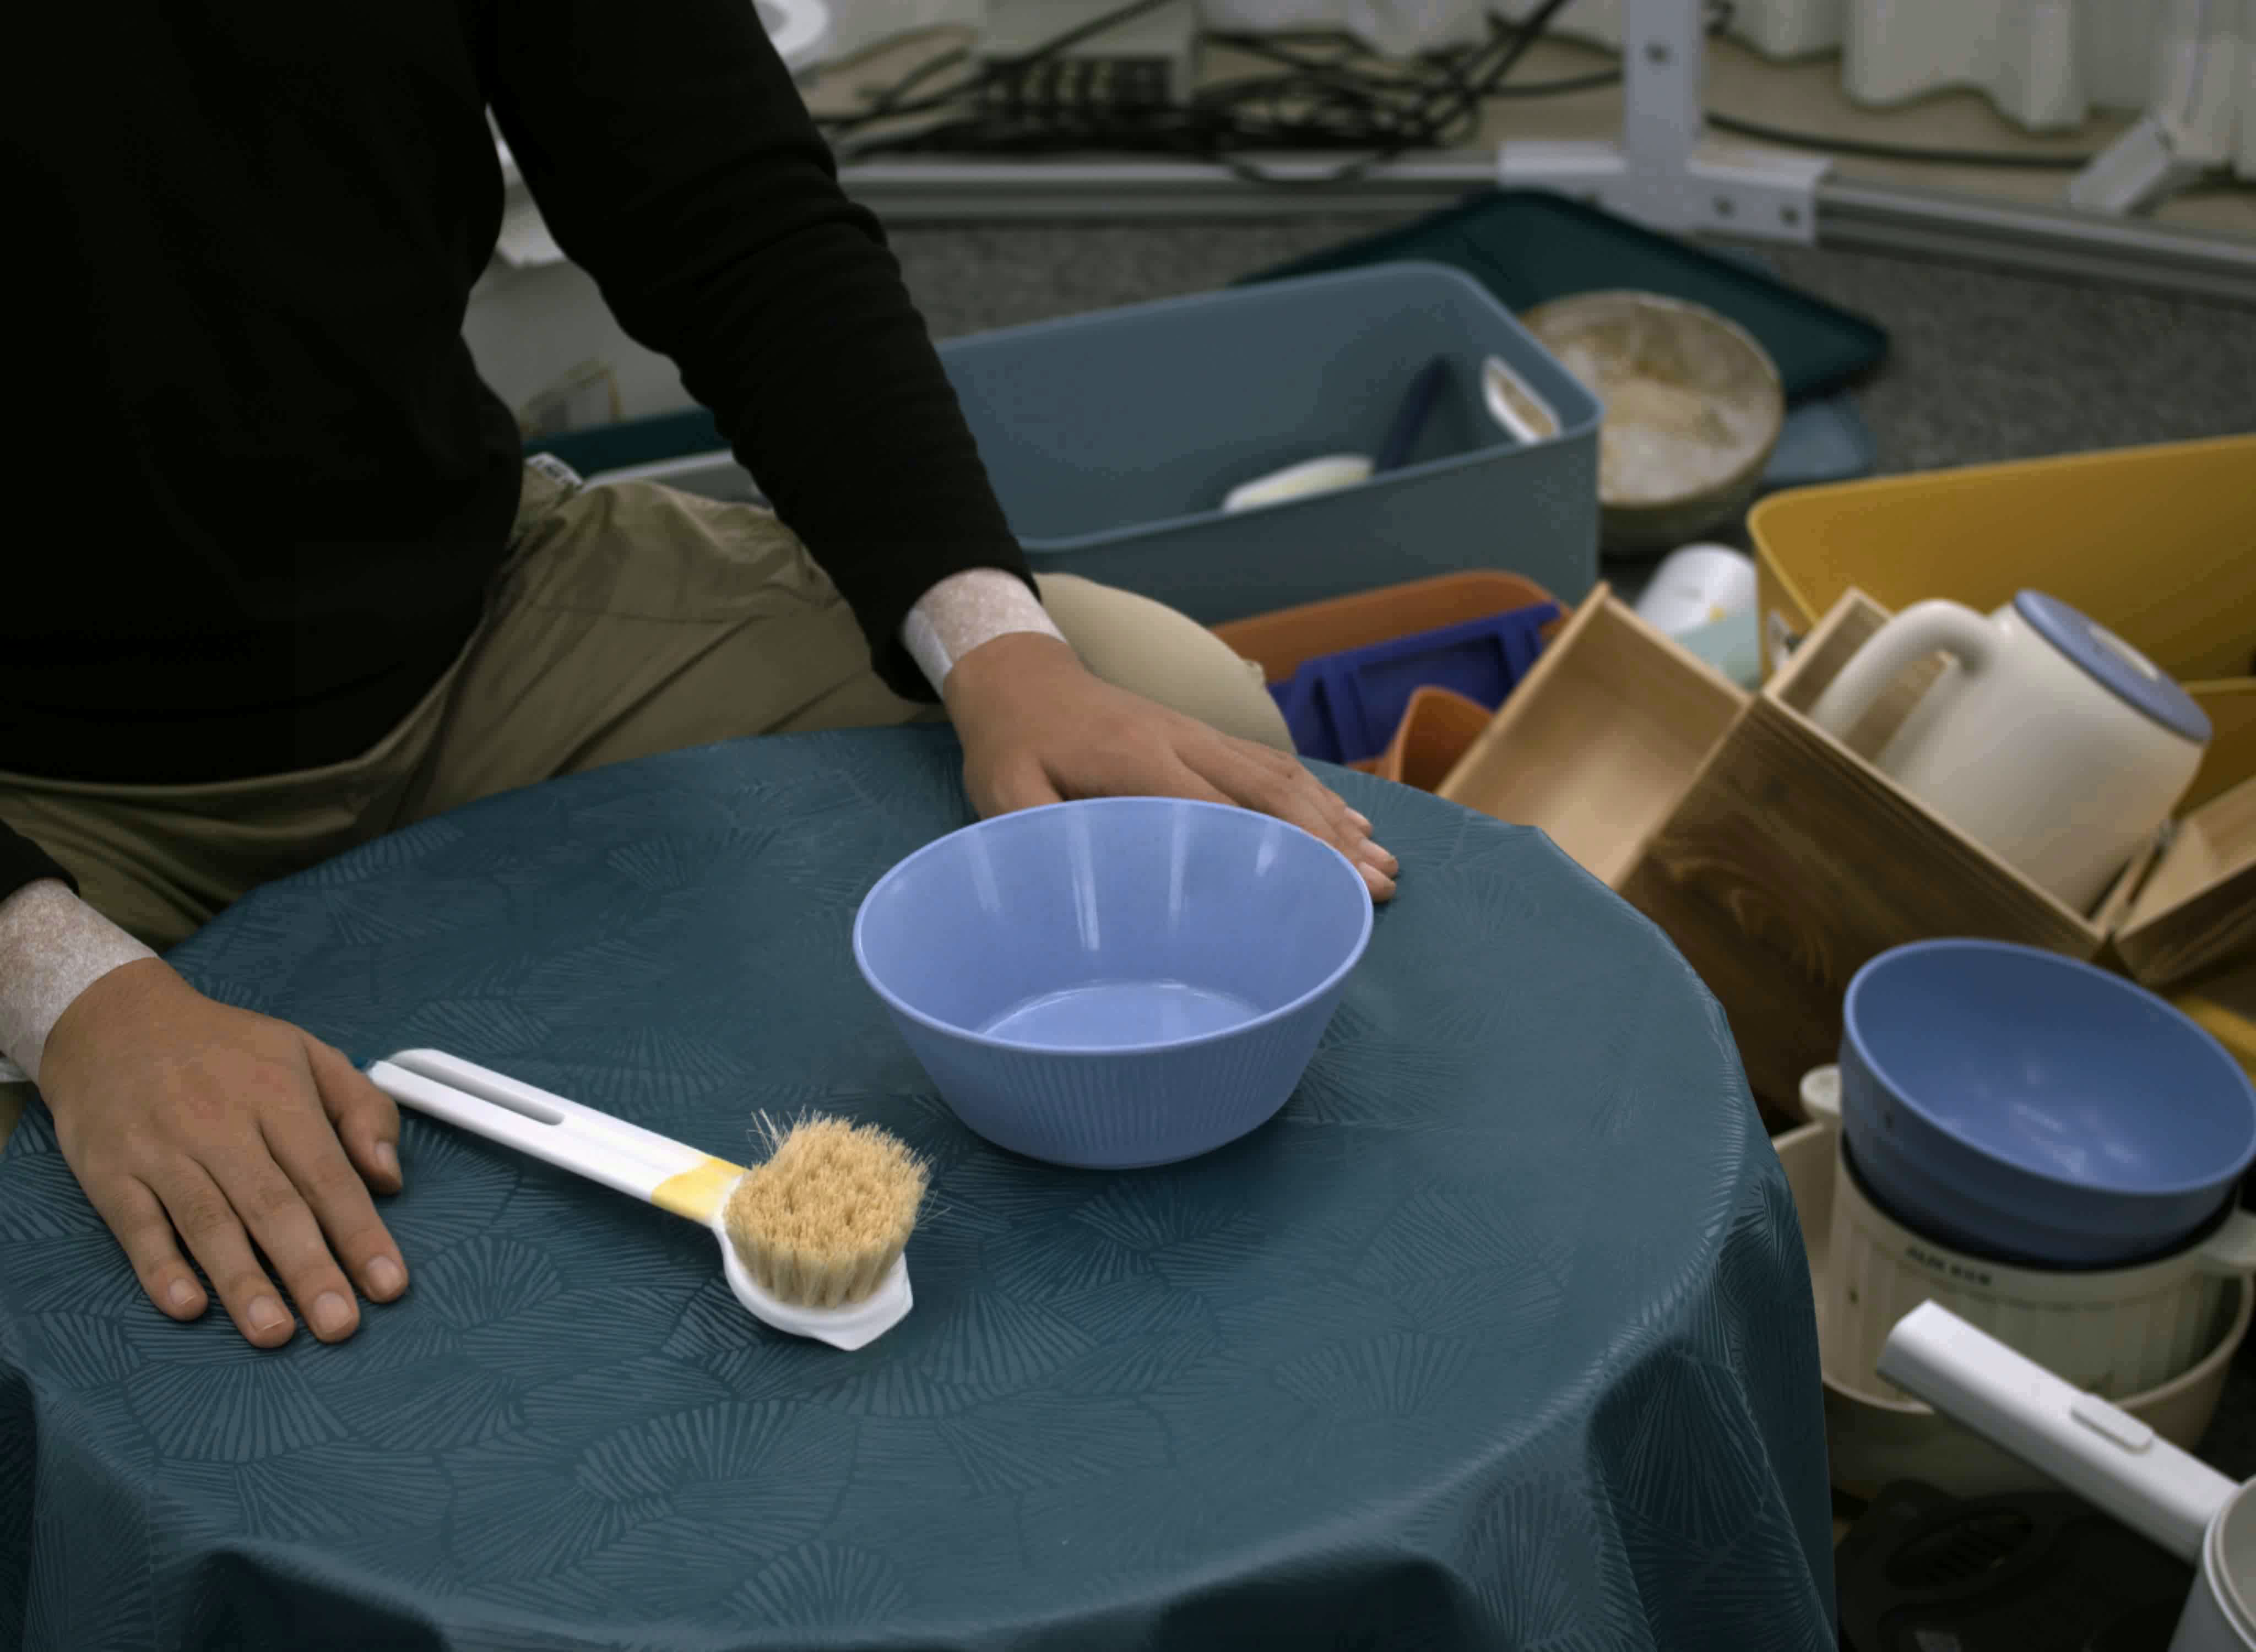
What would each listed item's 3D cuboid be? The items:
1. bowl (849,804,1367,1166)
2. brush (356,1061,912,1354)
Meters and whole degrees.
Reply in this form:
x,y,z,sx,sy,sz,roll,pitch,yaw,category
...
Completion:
x,y,z,sx,sy,sz,roll,pitch,yaw,category
-0.005,0.059,1.904,0.175,0.069,0.178,-2,26,1,bowl
-0.172,0.103,1.856,0.069,0.055,0.266,-20,31,-40,brush
